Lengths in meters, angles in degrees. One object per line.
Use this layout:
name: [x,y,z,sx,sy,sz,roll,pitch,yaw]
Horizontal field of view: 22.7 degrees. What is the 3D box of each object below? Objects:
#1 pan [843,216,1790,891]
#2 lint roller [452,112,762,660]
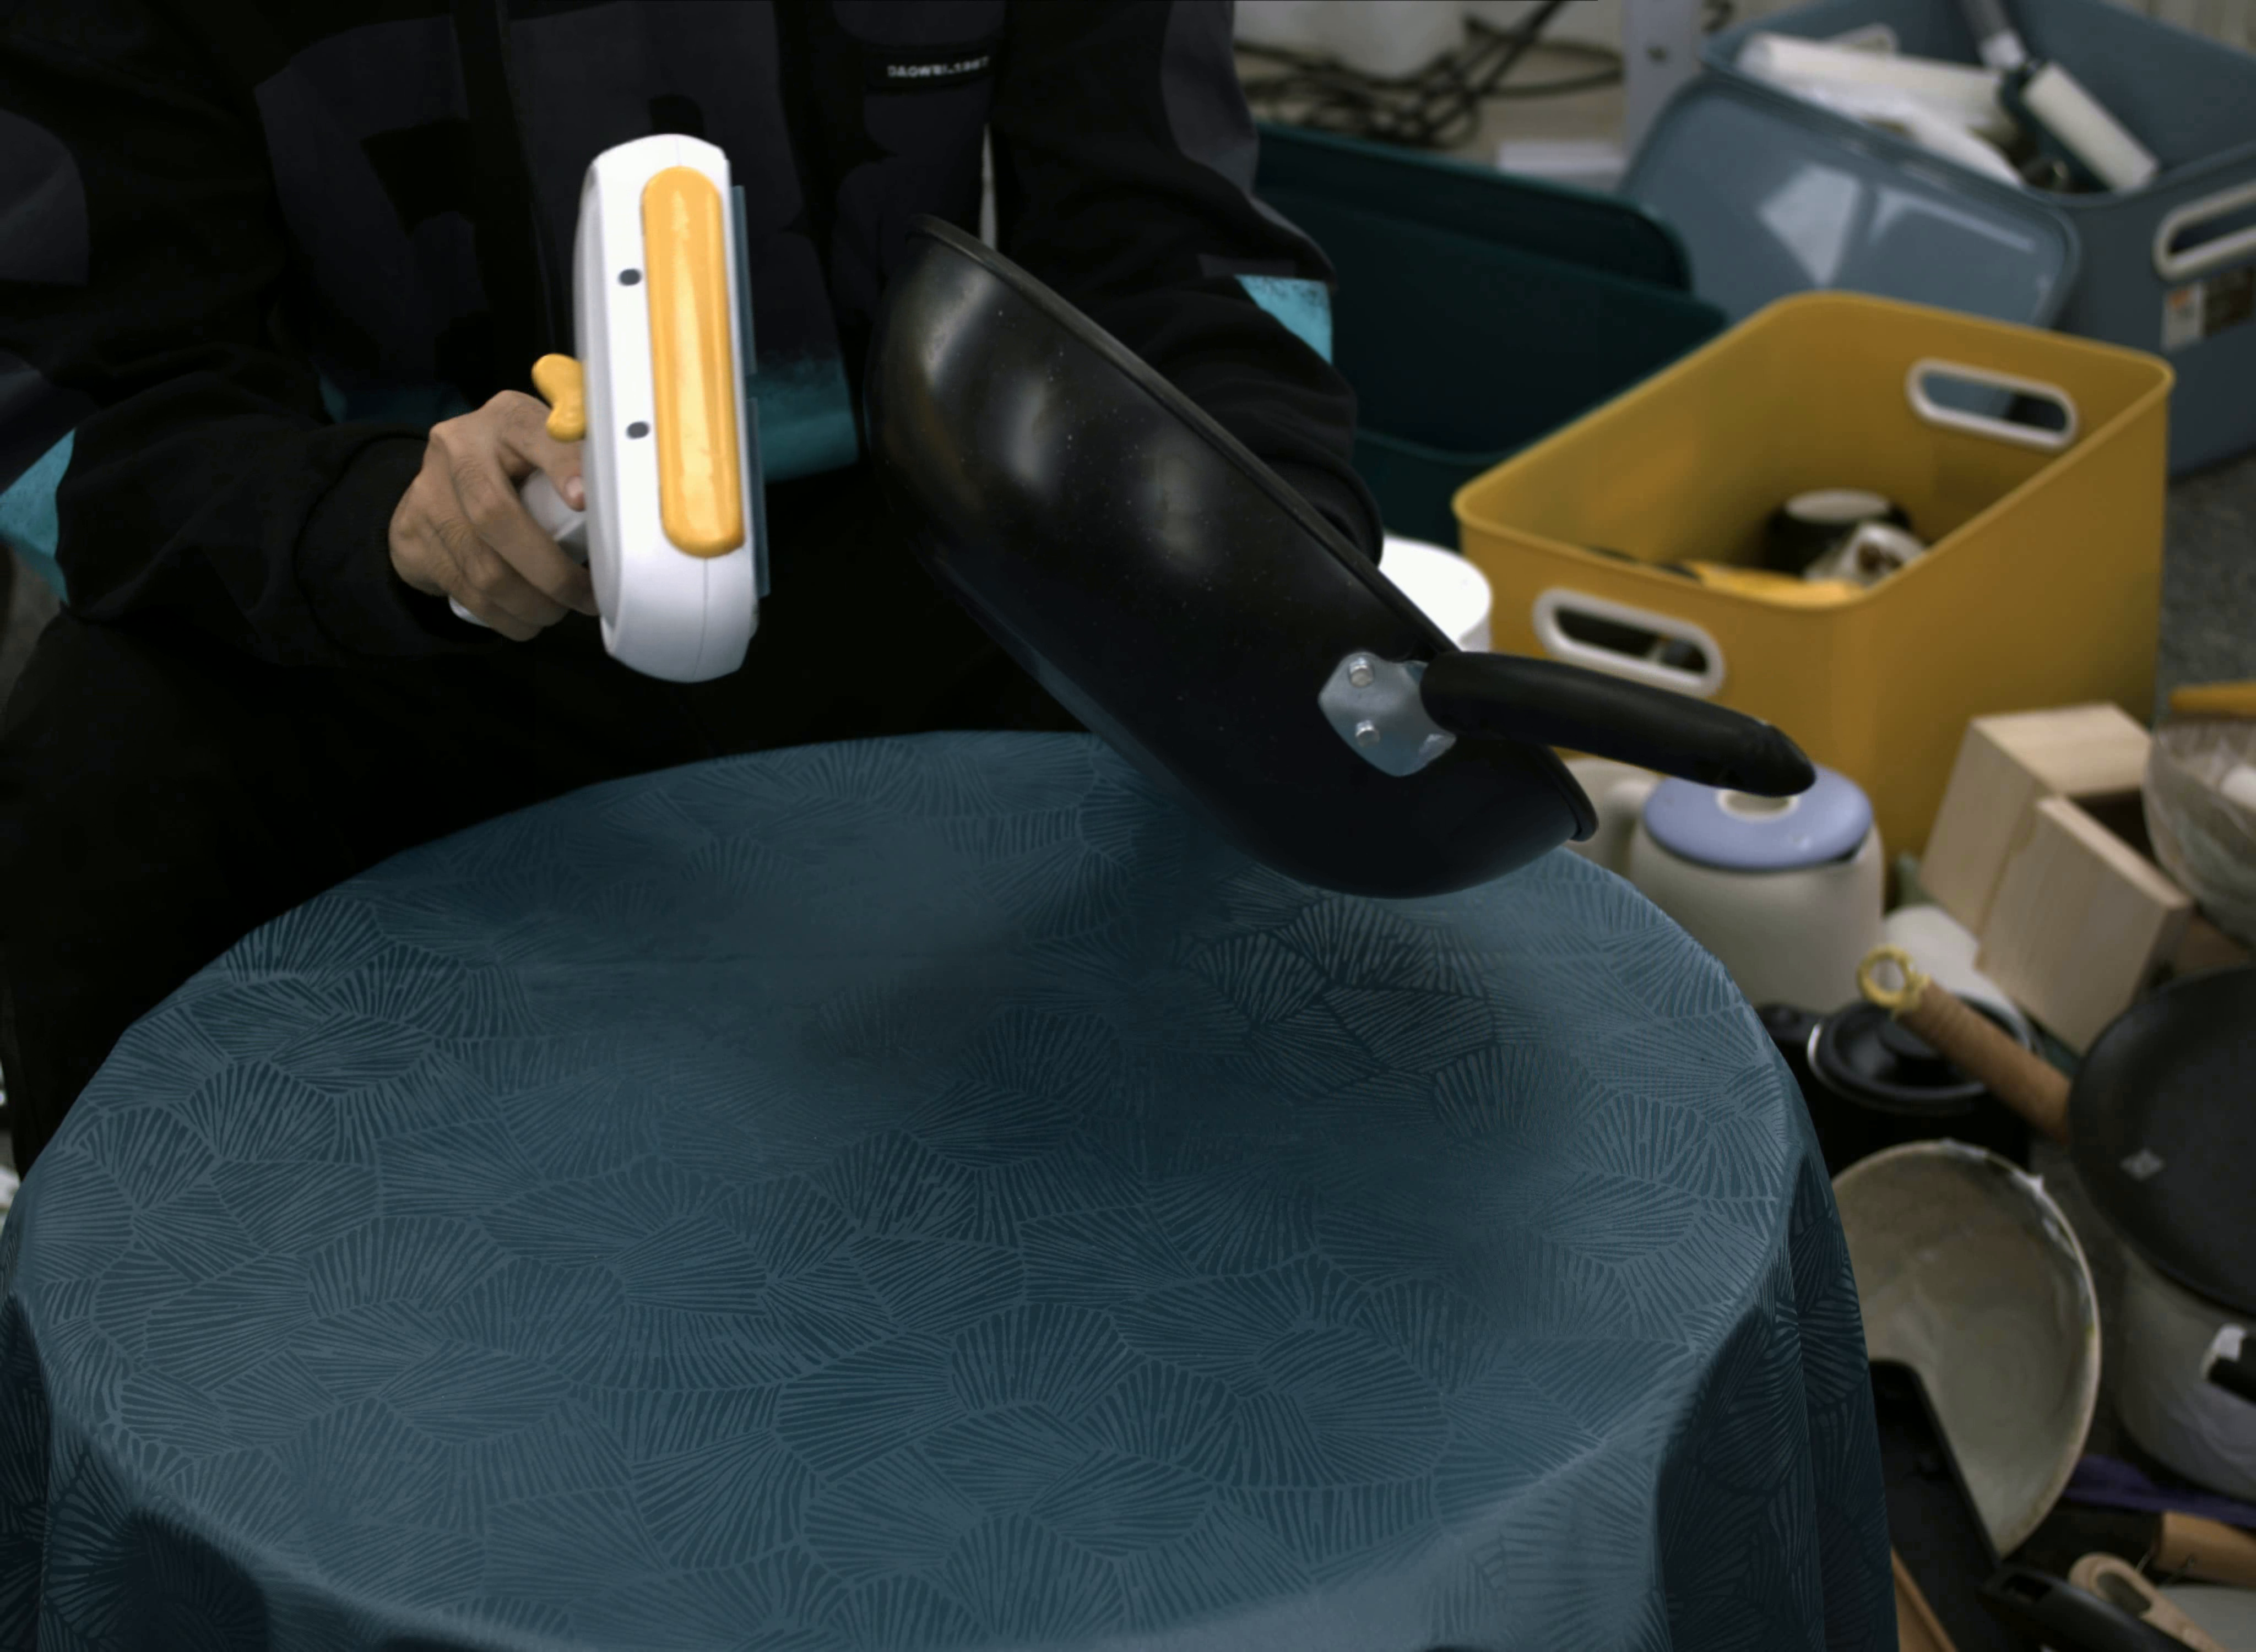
pan: [0.053,-0.055,1.816,0.112,0.308,0.478,-50,31,-3]
lint roller: [-0.182,-0.120,1.927,0.074,0.189,0.196,0,62,-22]
